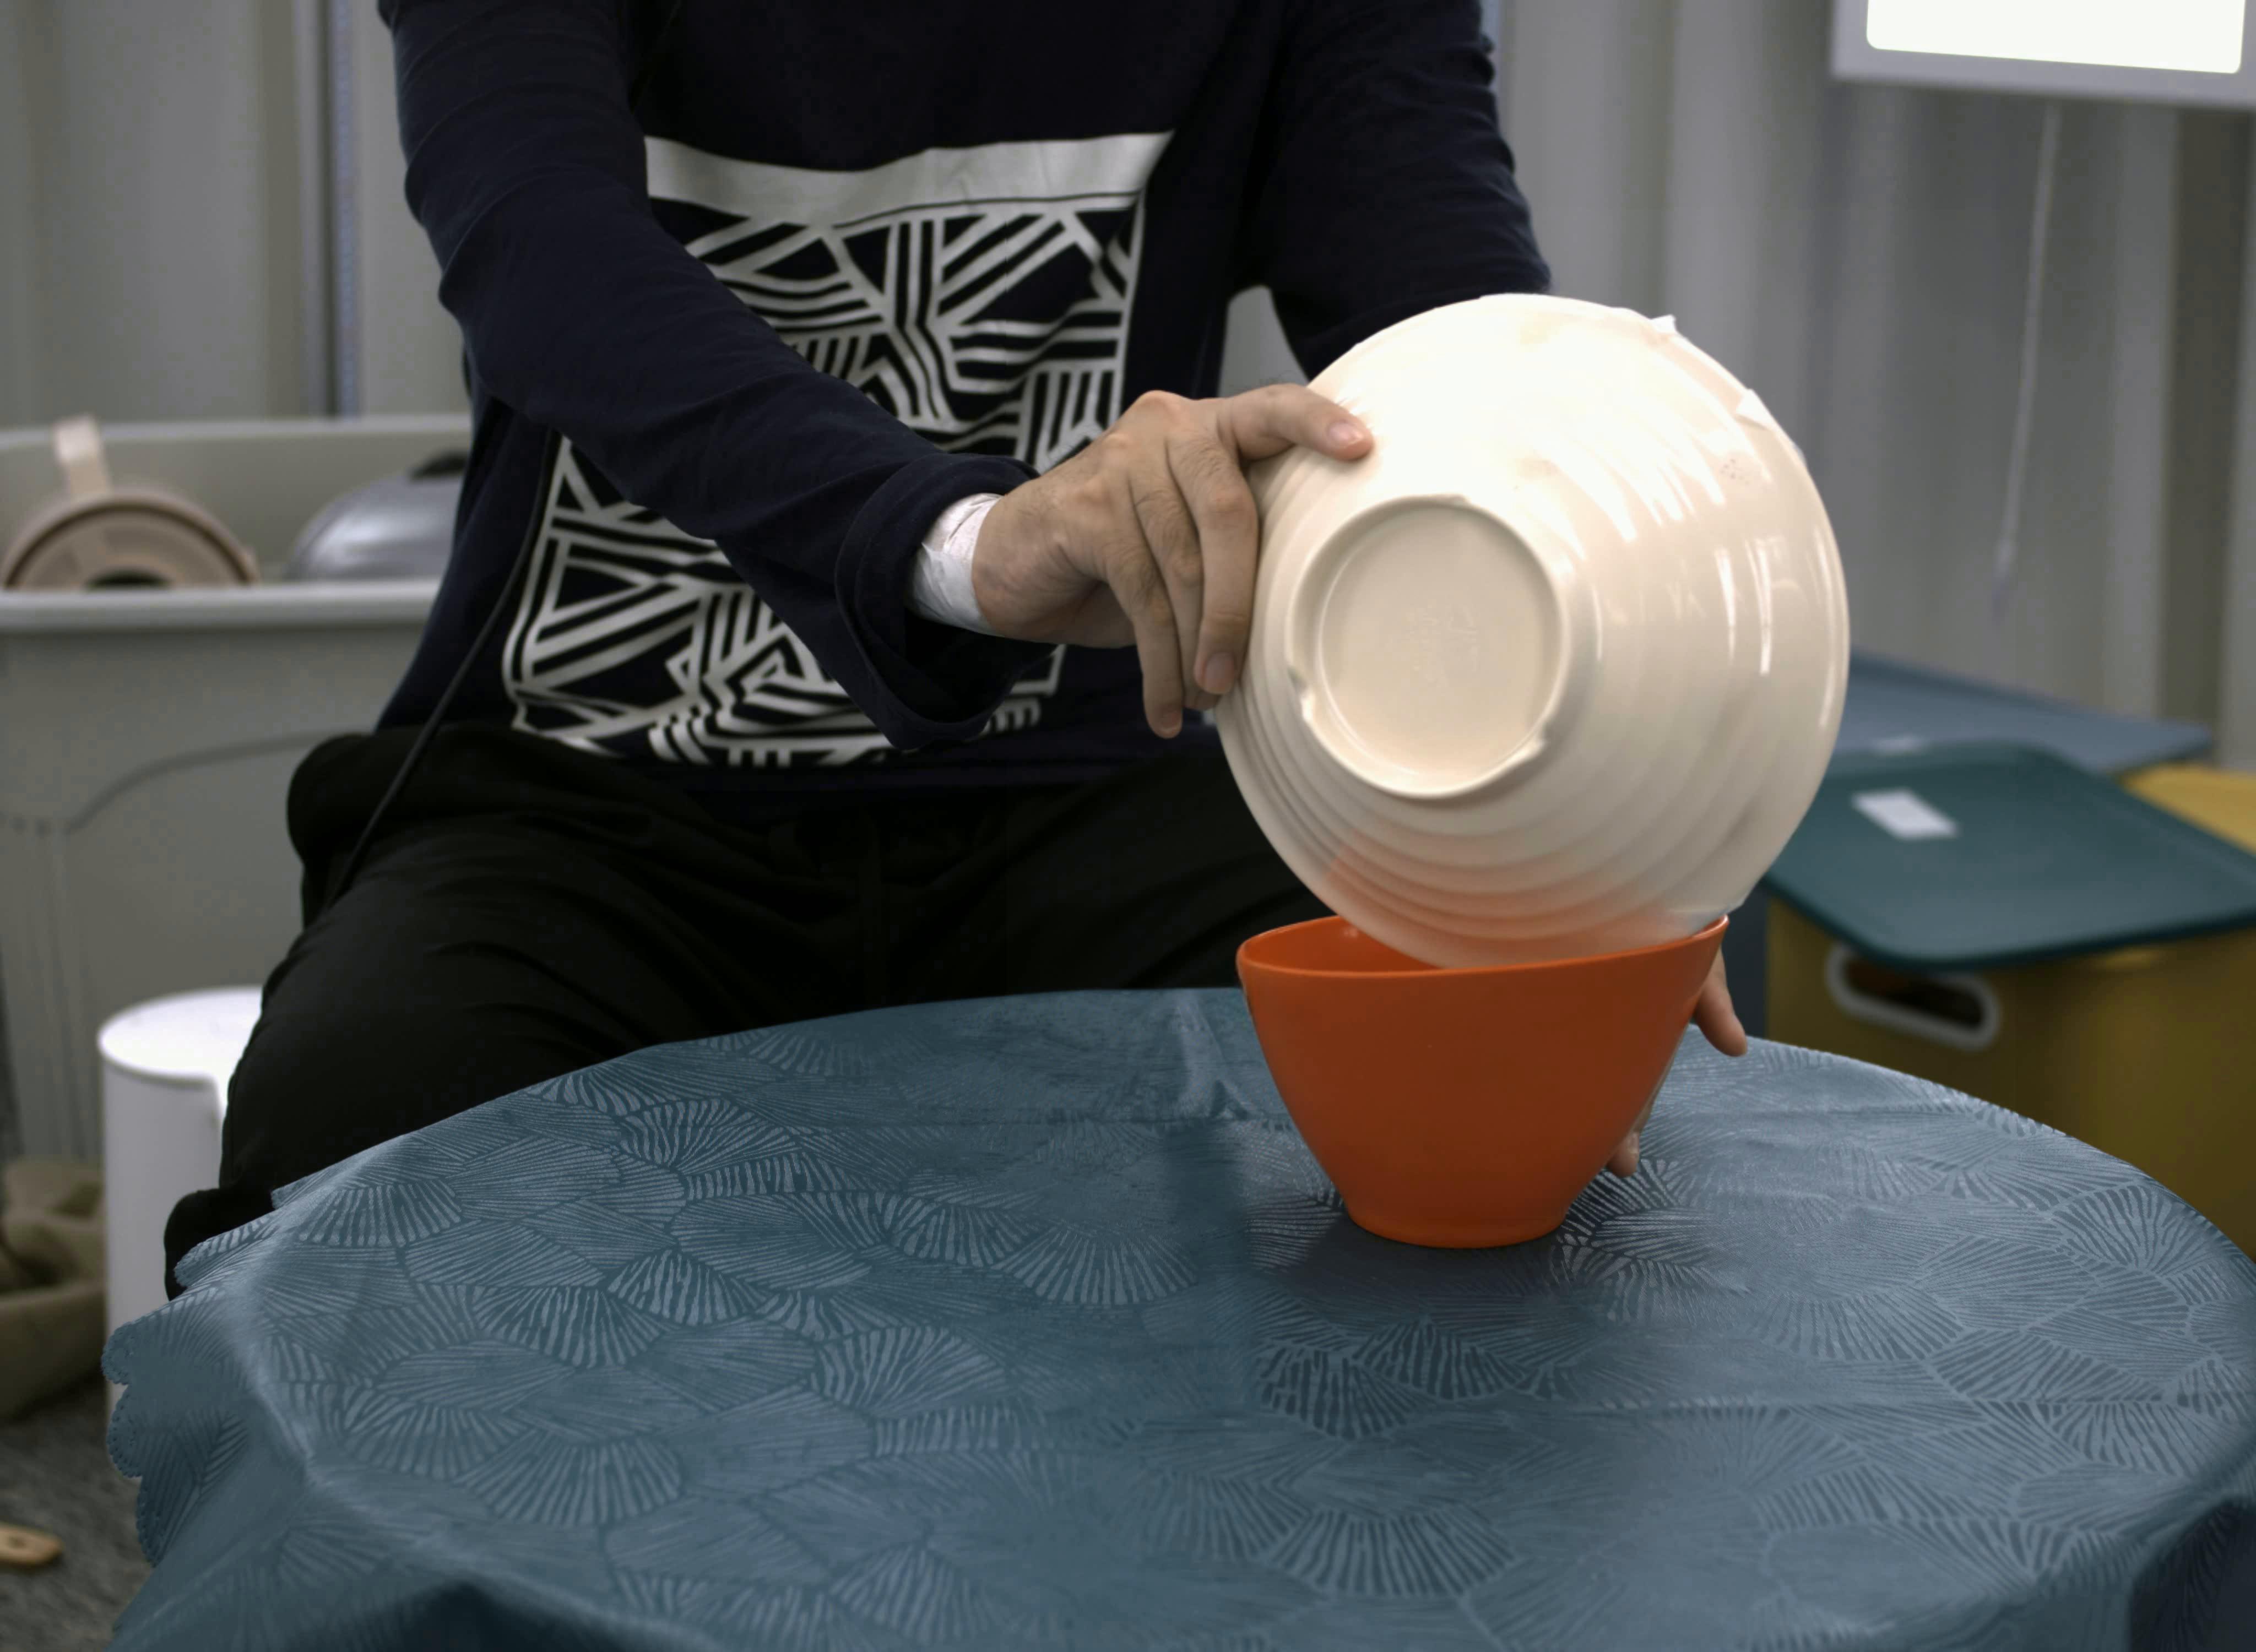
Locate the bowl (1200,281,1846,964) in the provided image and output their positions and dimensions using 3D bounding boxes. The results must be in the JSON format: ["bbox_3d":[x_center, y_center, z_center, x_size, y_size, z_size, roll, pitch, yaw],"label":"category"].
[{"bbox_3d":[0.099,-0.056,1.513,0.202,0.205,0.078,8,6,24],"label":"bowl"}]

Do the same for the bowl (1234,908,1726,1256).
[{"bbox_3d":[0.105,0.073,1.585,0.147,0.105,0.147,0,14,1],"label":"bowl"}]
